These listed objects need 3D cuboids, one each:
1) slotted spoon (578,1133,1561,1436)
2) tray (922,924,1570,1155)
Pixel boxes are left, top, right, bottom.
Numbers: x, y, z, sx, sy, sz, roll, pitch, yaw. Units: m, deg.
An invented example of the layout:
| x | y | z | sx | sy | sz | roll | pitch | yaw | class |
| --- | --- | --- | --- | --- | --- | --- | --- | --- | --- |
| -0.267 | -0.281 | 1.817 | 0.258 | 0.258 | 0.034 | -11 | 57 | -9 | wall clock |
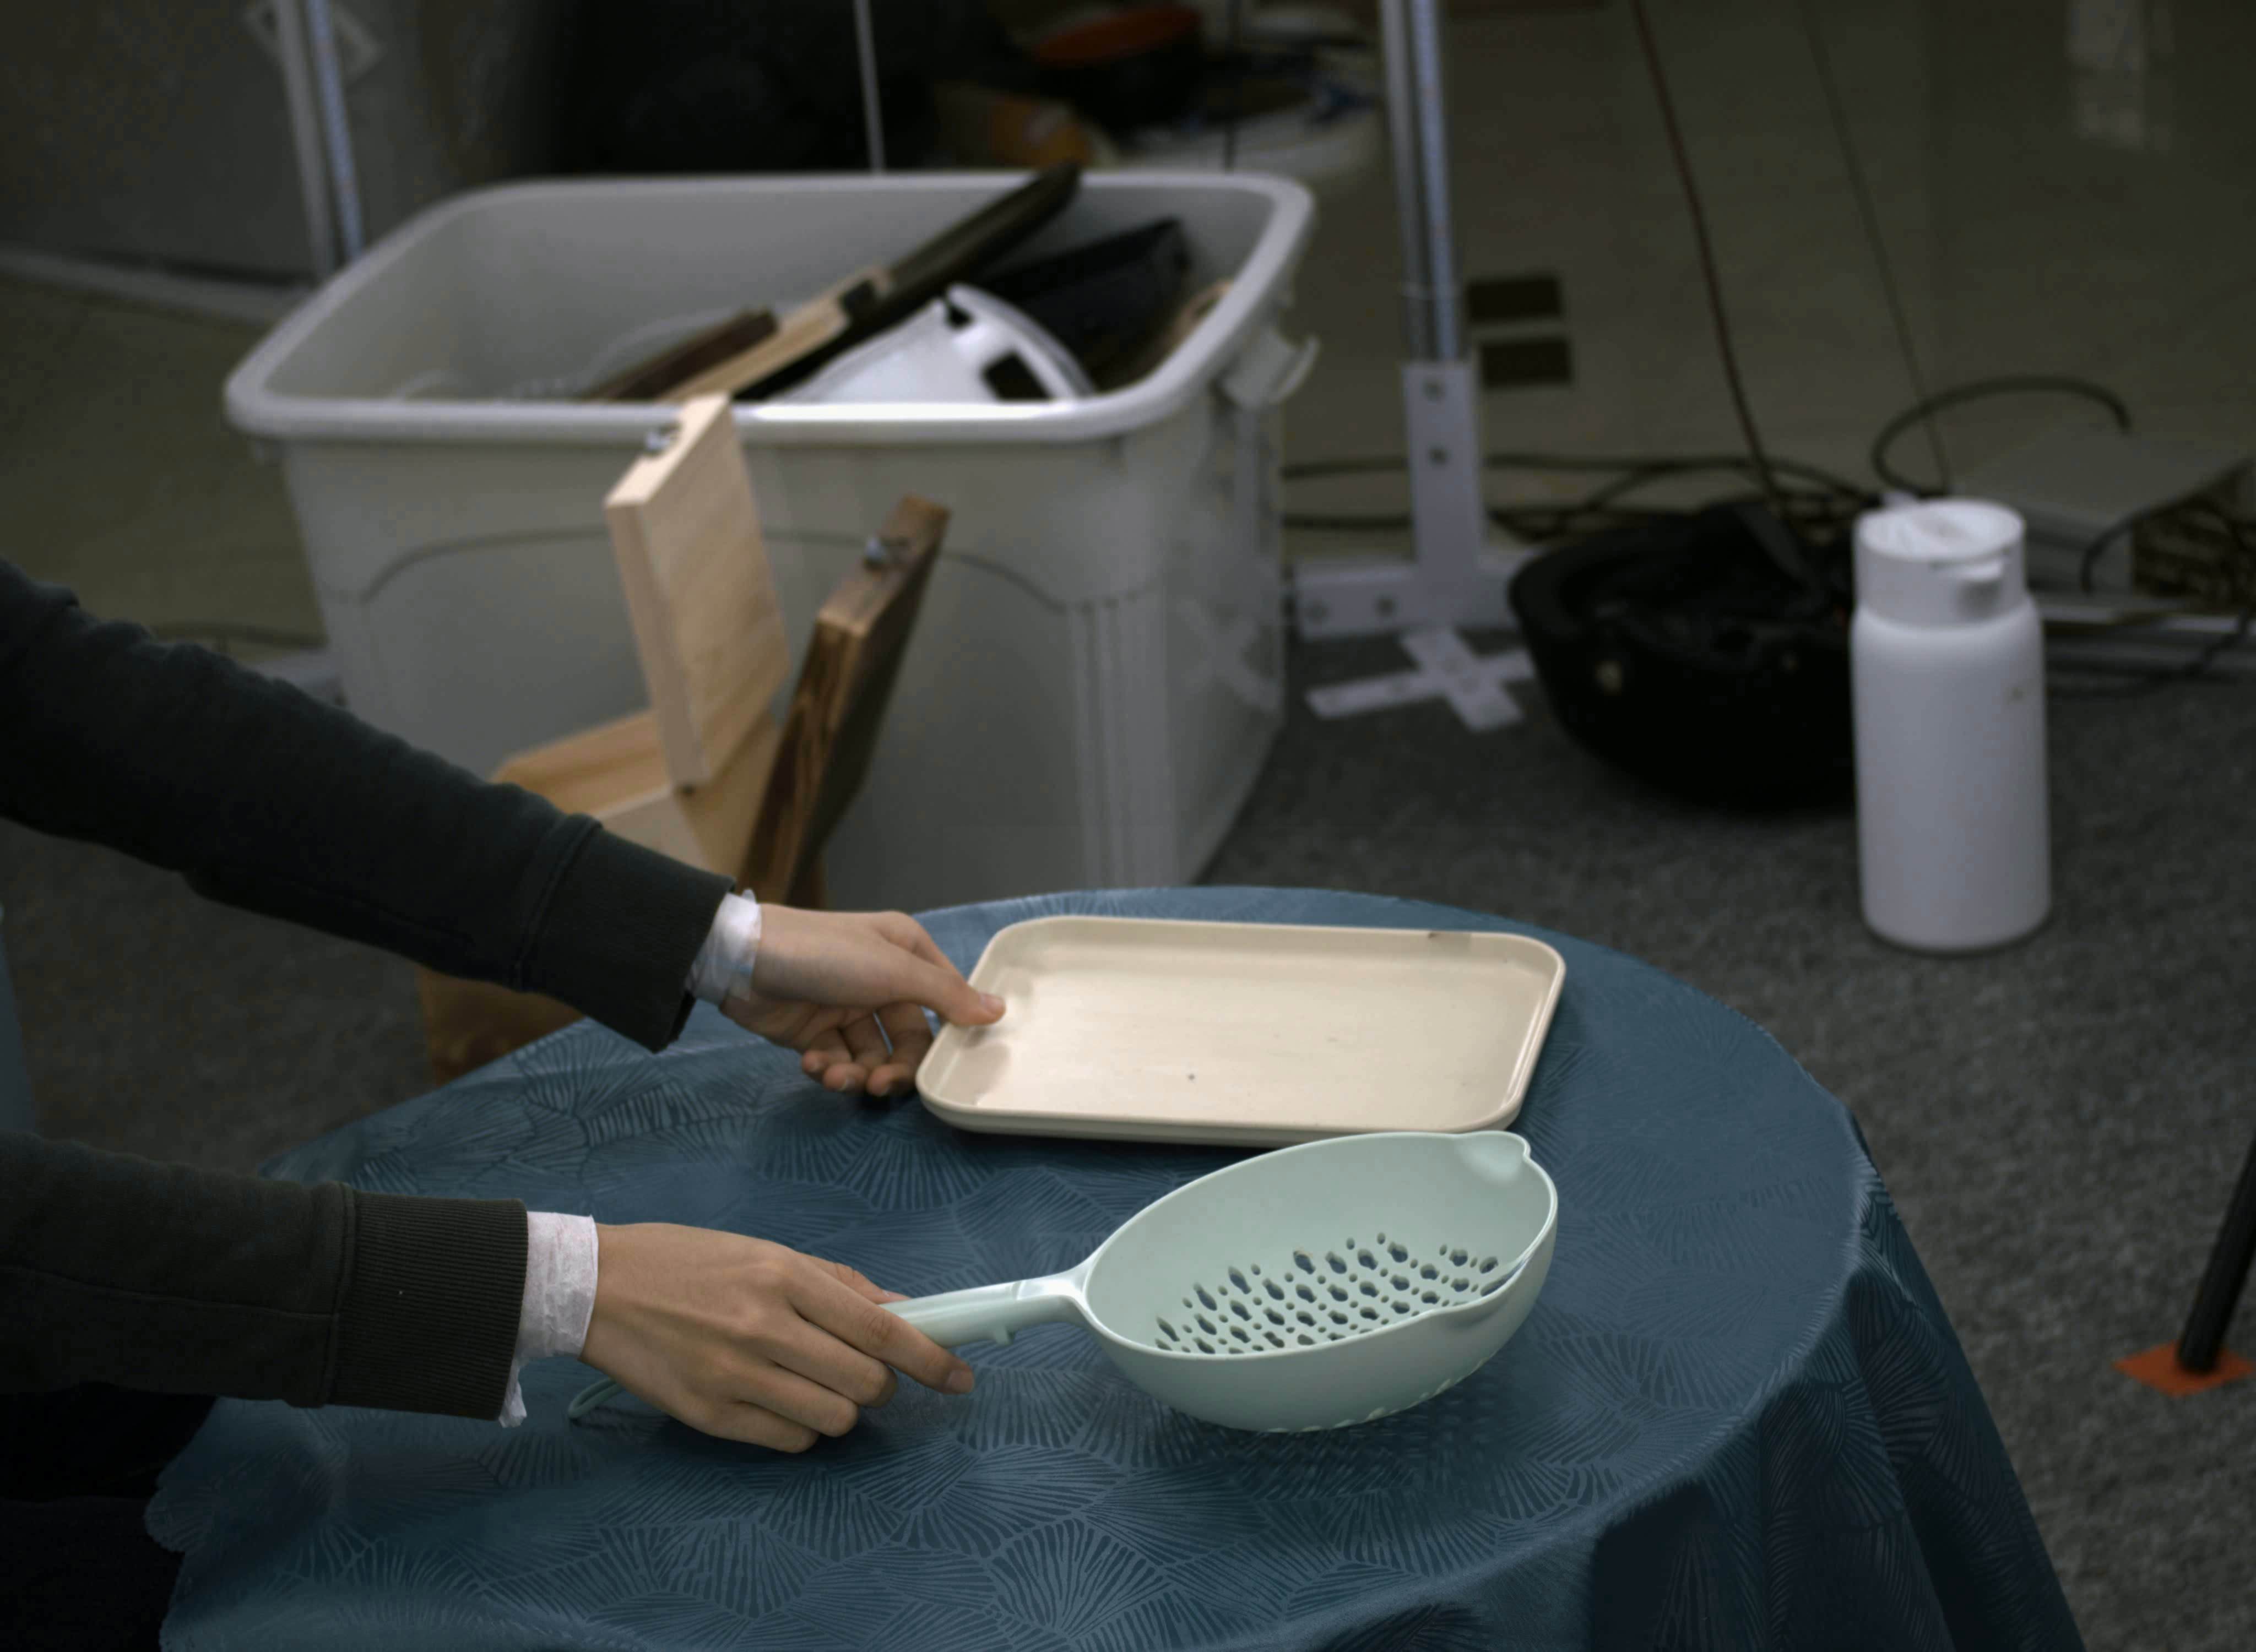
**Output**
| x | y | z | sx | sy | sz | roll | pitch | yaw | class |
| --- | --- | --- | --- | --- | --- | --- | --- | --- | --- |
| -0.025 | 0.173 | 2.006 | 0.358 | 0.076 | 0.167 | -2 | 21 | 8 | slotted spoon |
| 0.048 | 0.084 | 2.231 | 0.239 | 0.018 | 0.169 | 1 | 26 | 14 | tray |
